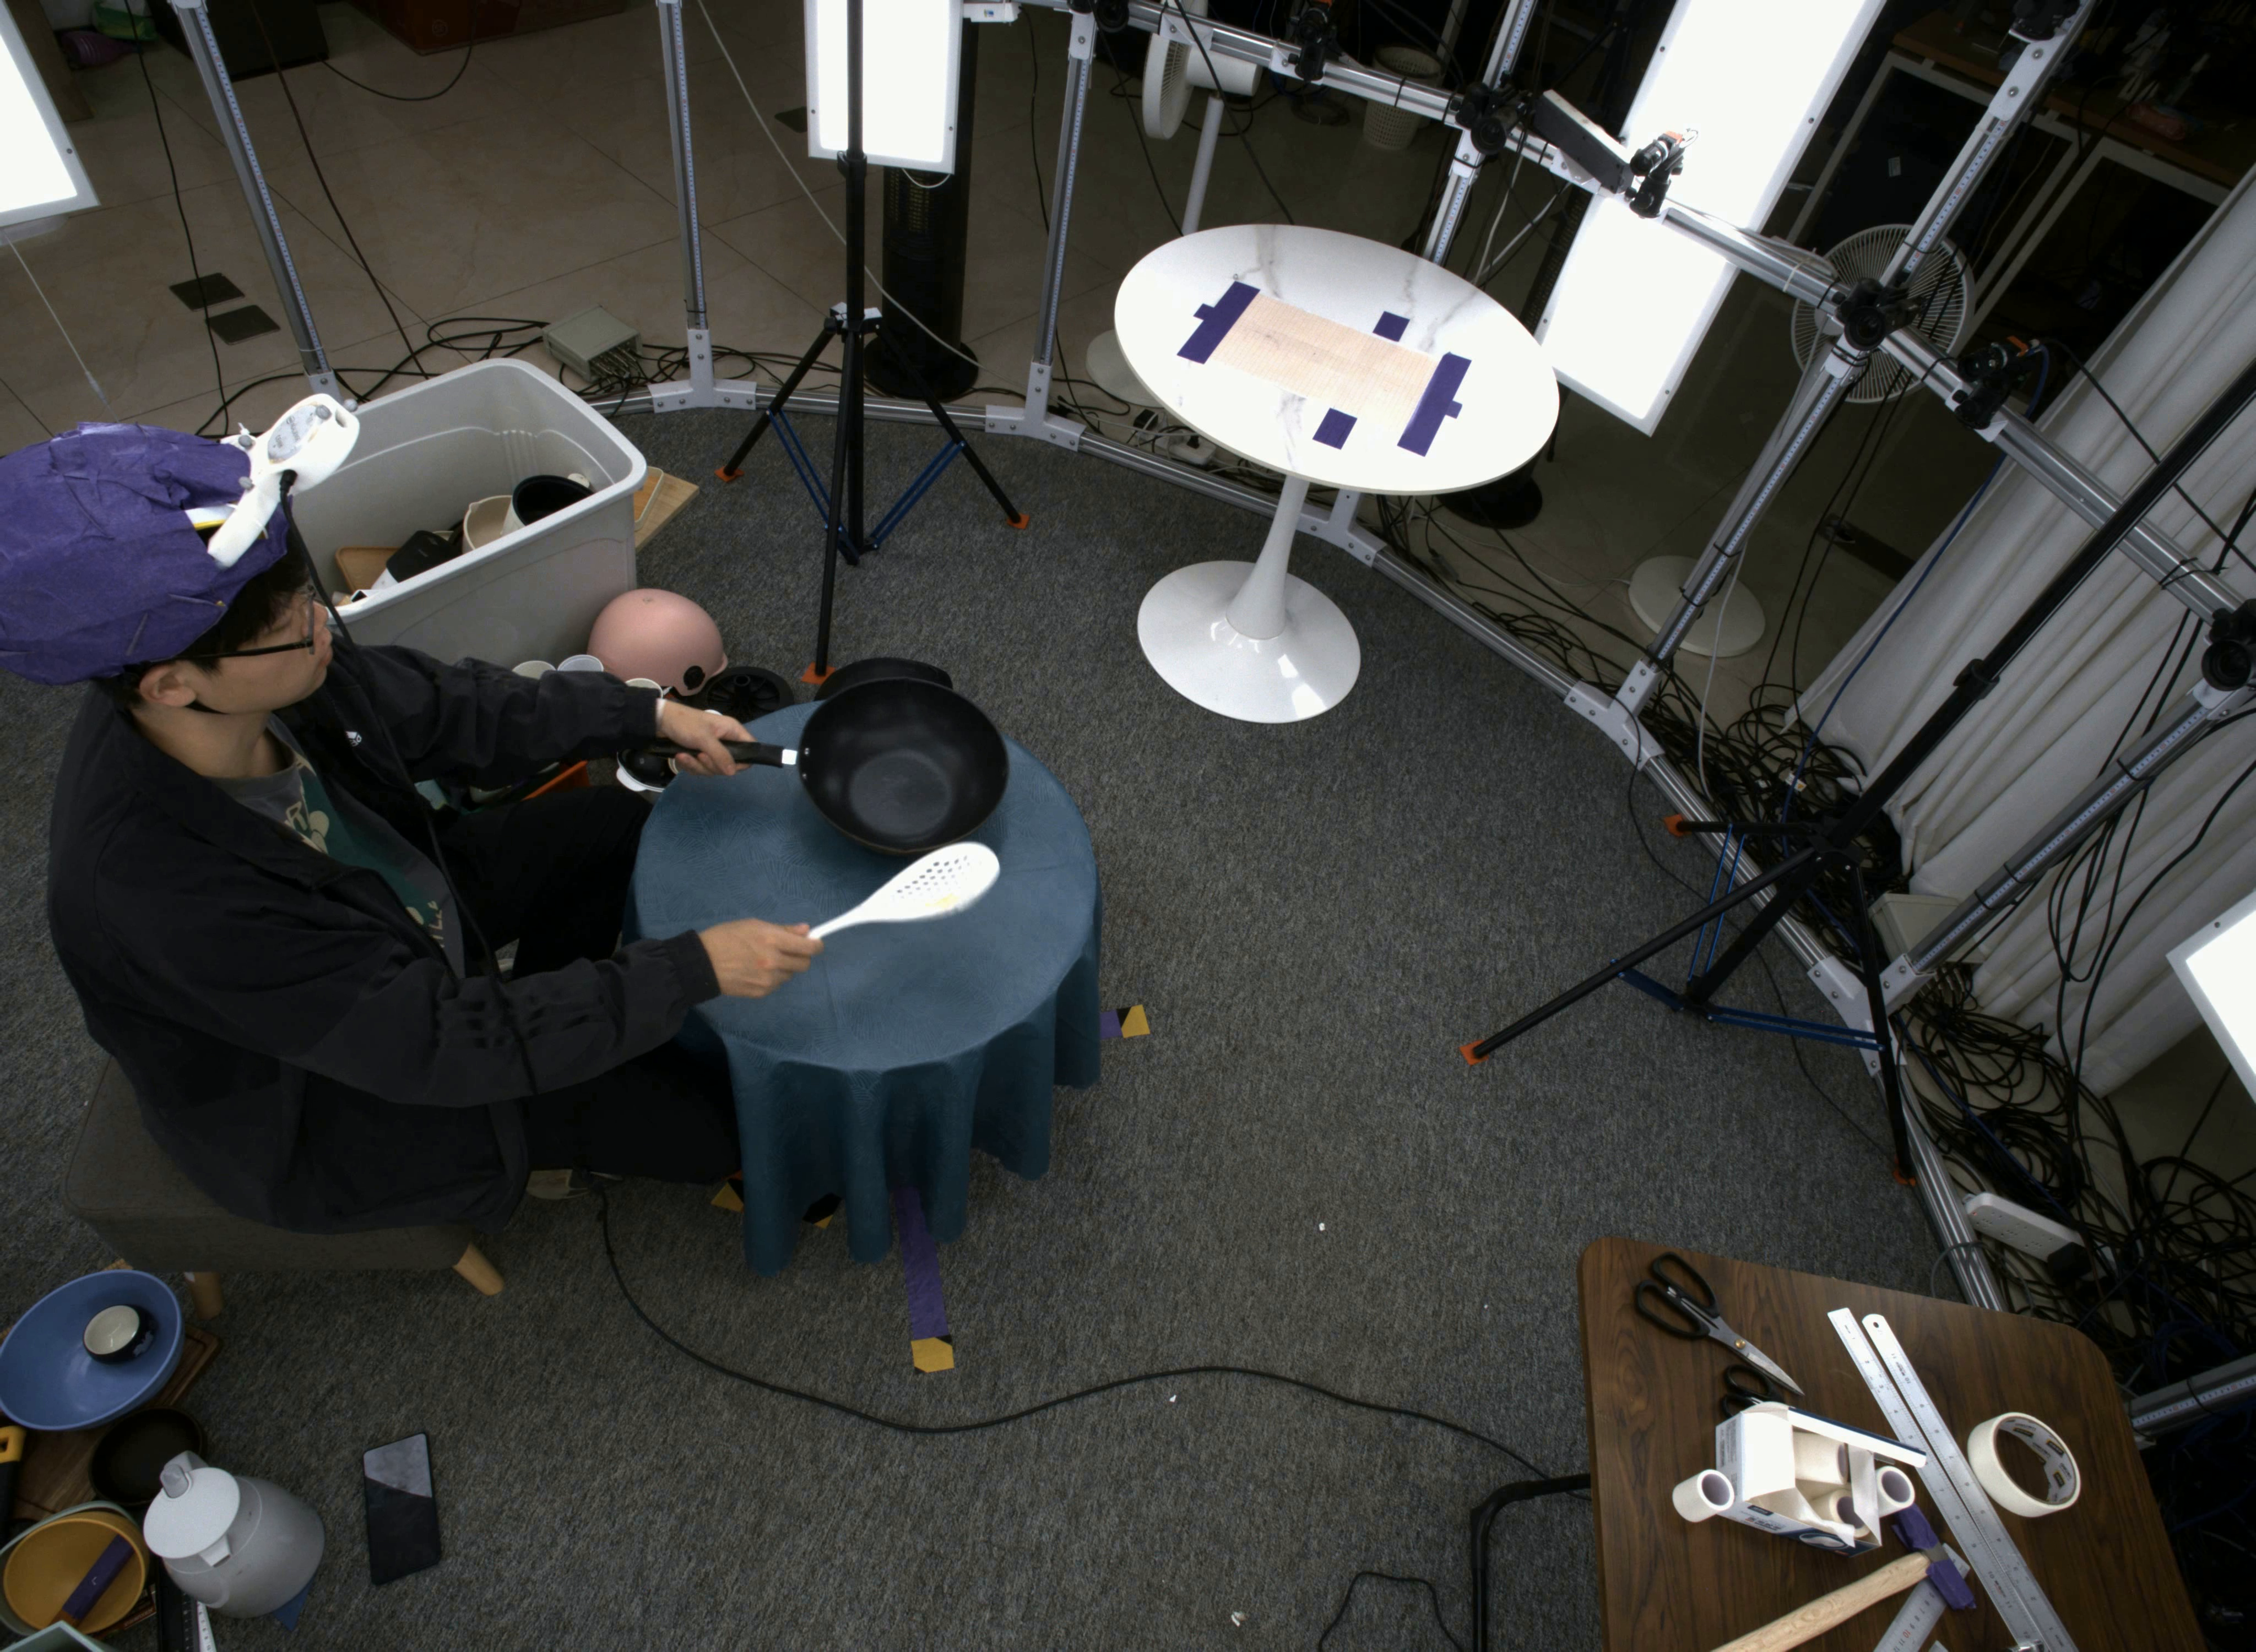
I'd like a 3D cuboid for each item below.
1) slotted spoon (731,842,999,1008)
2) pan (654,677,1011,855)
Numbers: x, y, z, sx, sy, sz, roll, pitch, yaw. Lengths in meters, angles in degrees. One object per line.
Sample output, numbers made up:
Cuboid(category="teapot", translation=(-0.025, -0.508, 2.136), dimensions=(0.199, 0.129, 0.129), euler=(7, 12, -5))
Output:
Cuboid(category="slotted spoon", translation=(-0.310, 0.118, 1.527), dimensions=(0.347, 0.052, 0.132), euler=(-22, 35, -15))
Cuboid(category="pan", translation=(-0.388, -0.072, 1.723), dimensions=(0.464, 0.088, 0.282), euler=(3, 55, -14))
